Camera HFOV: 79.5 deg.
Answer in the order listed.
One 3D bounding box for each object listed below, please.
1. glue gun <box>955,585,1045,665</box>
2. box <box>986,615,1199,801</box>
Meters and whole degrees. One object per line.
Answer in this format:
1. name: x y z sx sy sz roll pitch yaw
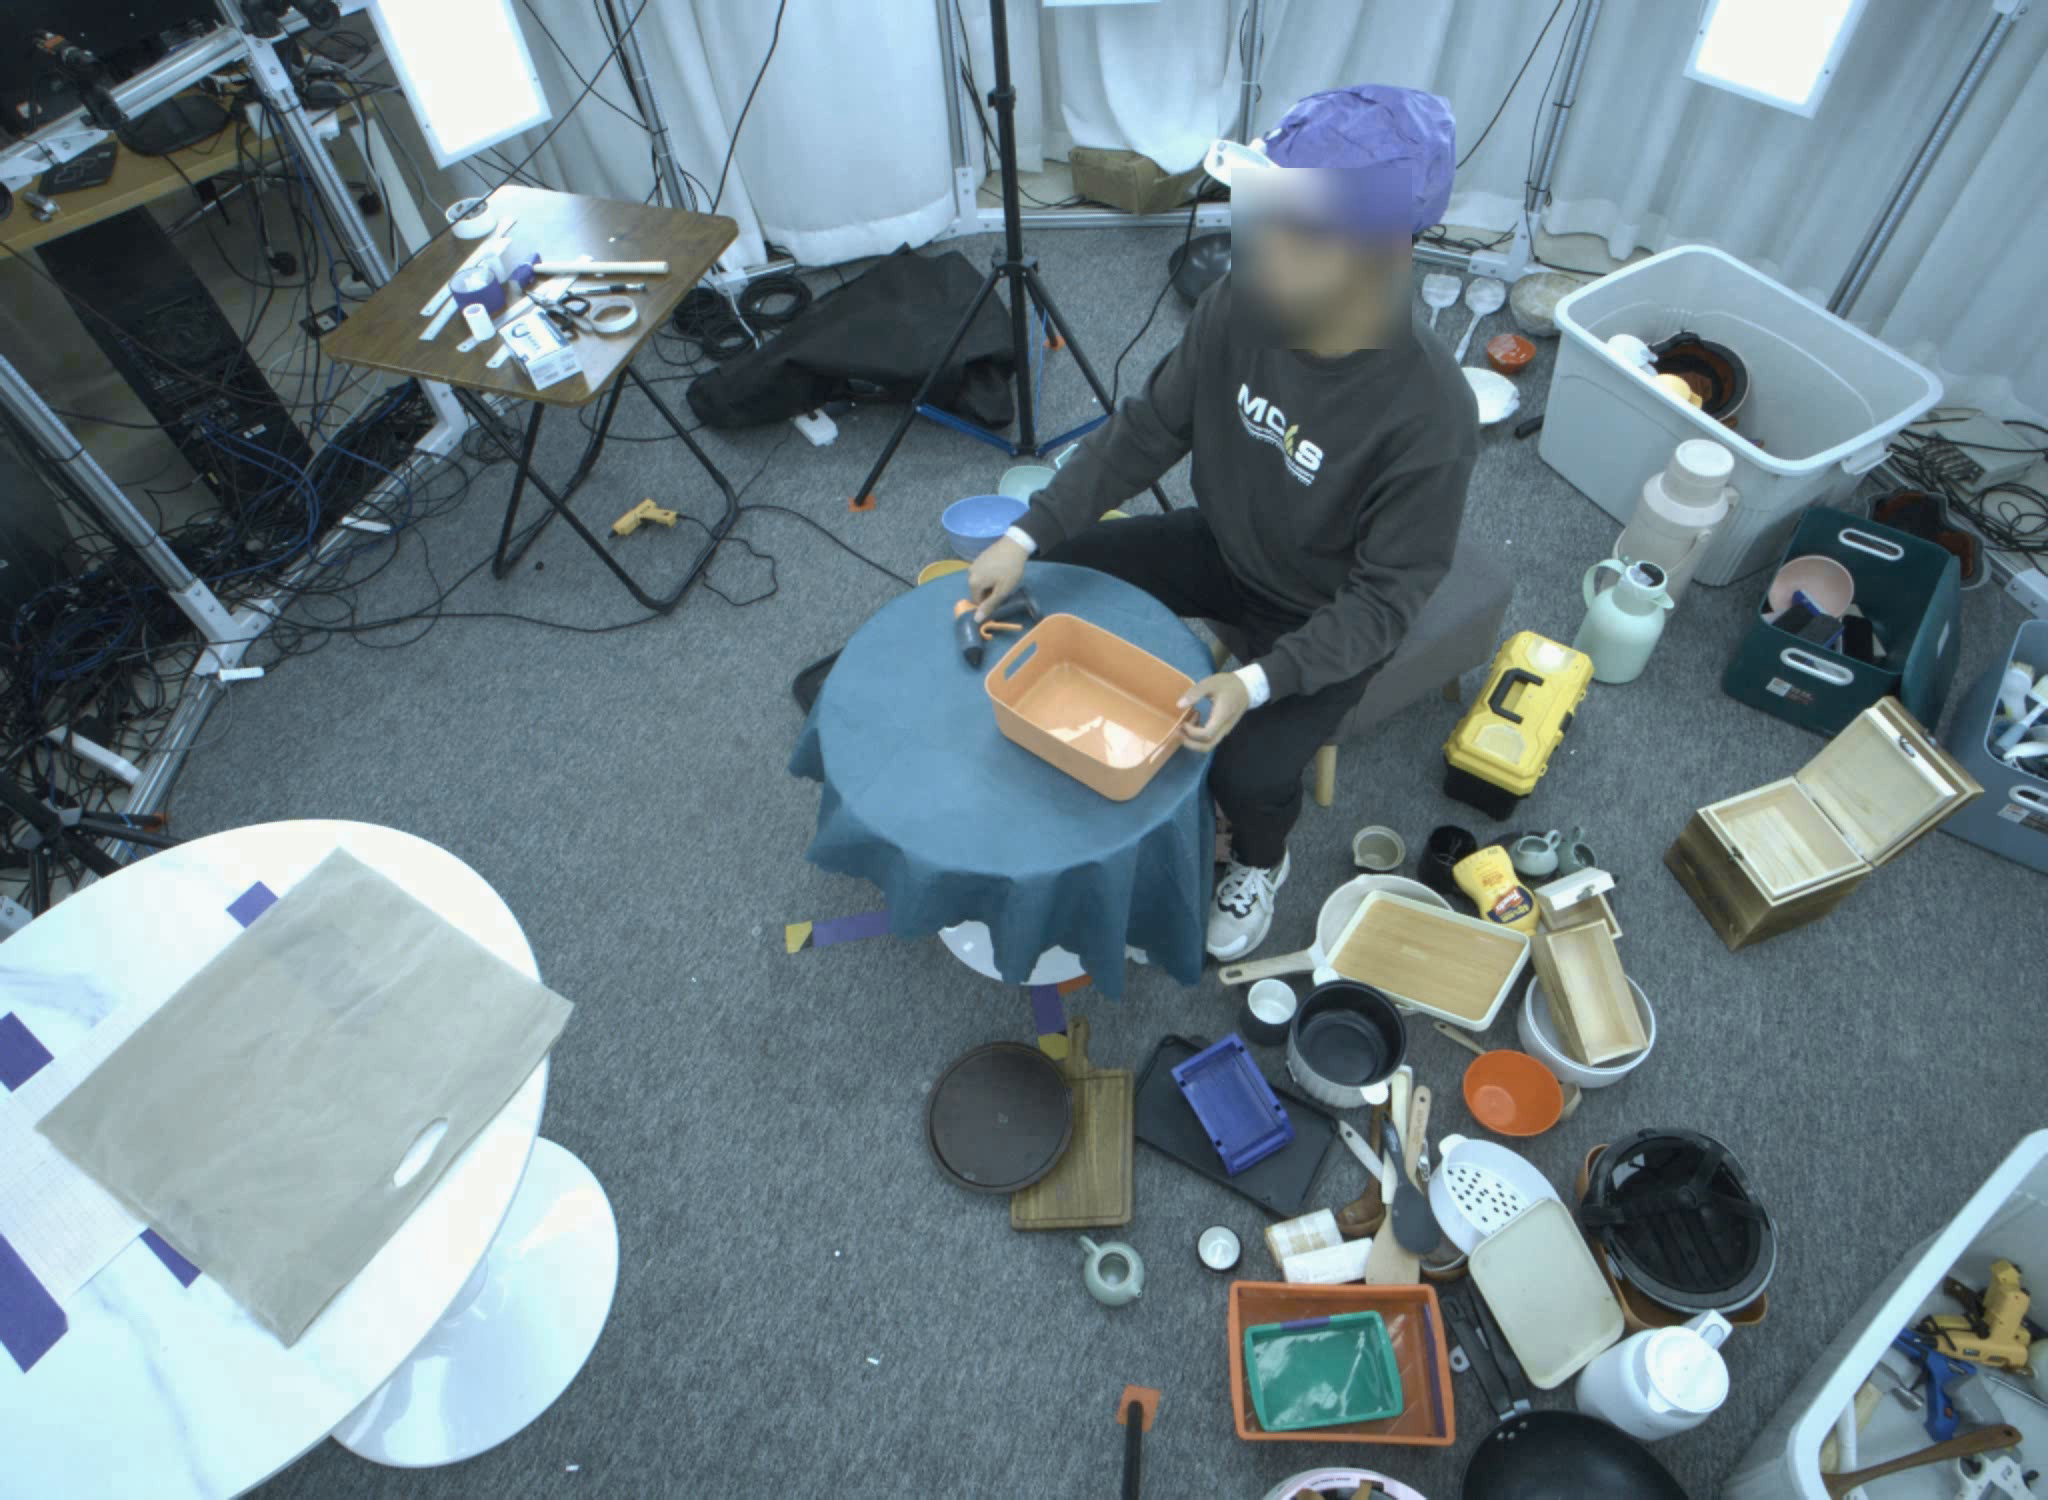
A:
1. glue gun: -0.043 -0.195 1.908 0.140 0.041 0.116 -25 56 -12
2. box: 0.098 -0.059 1.760 0.268 0.104 0.200 31 61 23
